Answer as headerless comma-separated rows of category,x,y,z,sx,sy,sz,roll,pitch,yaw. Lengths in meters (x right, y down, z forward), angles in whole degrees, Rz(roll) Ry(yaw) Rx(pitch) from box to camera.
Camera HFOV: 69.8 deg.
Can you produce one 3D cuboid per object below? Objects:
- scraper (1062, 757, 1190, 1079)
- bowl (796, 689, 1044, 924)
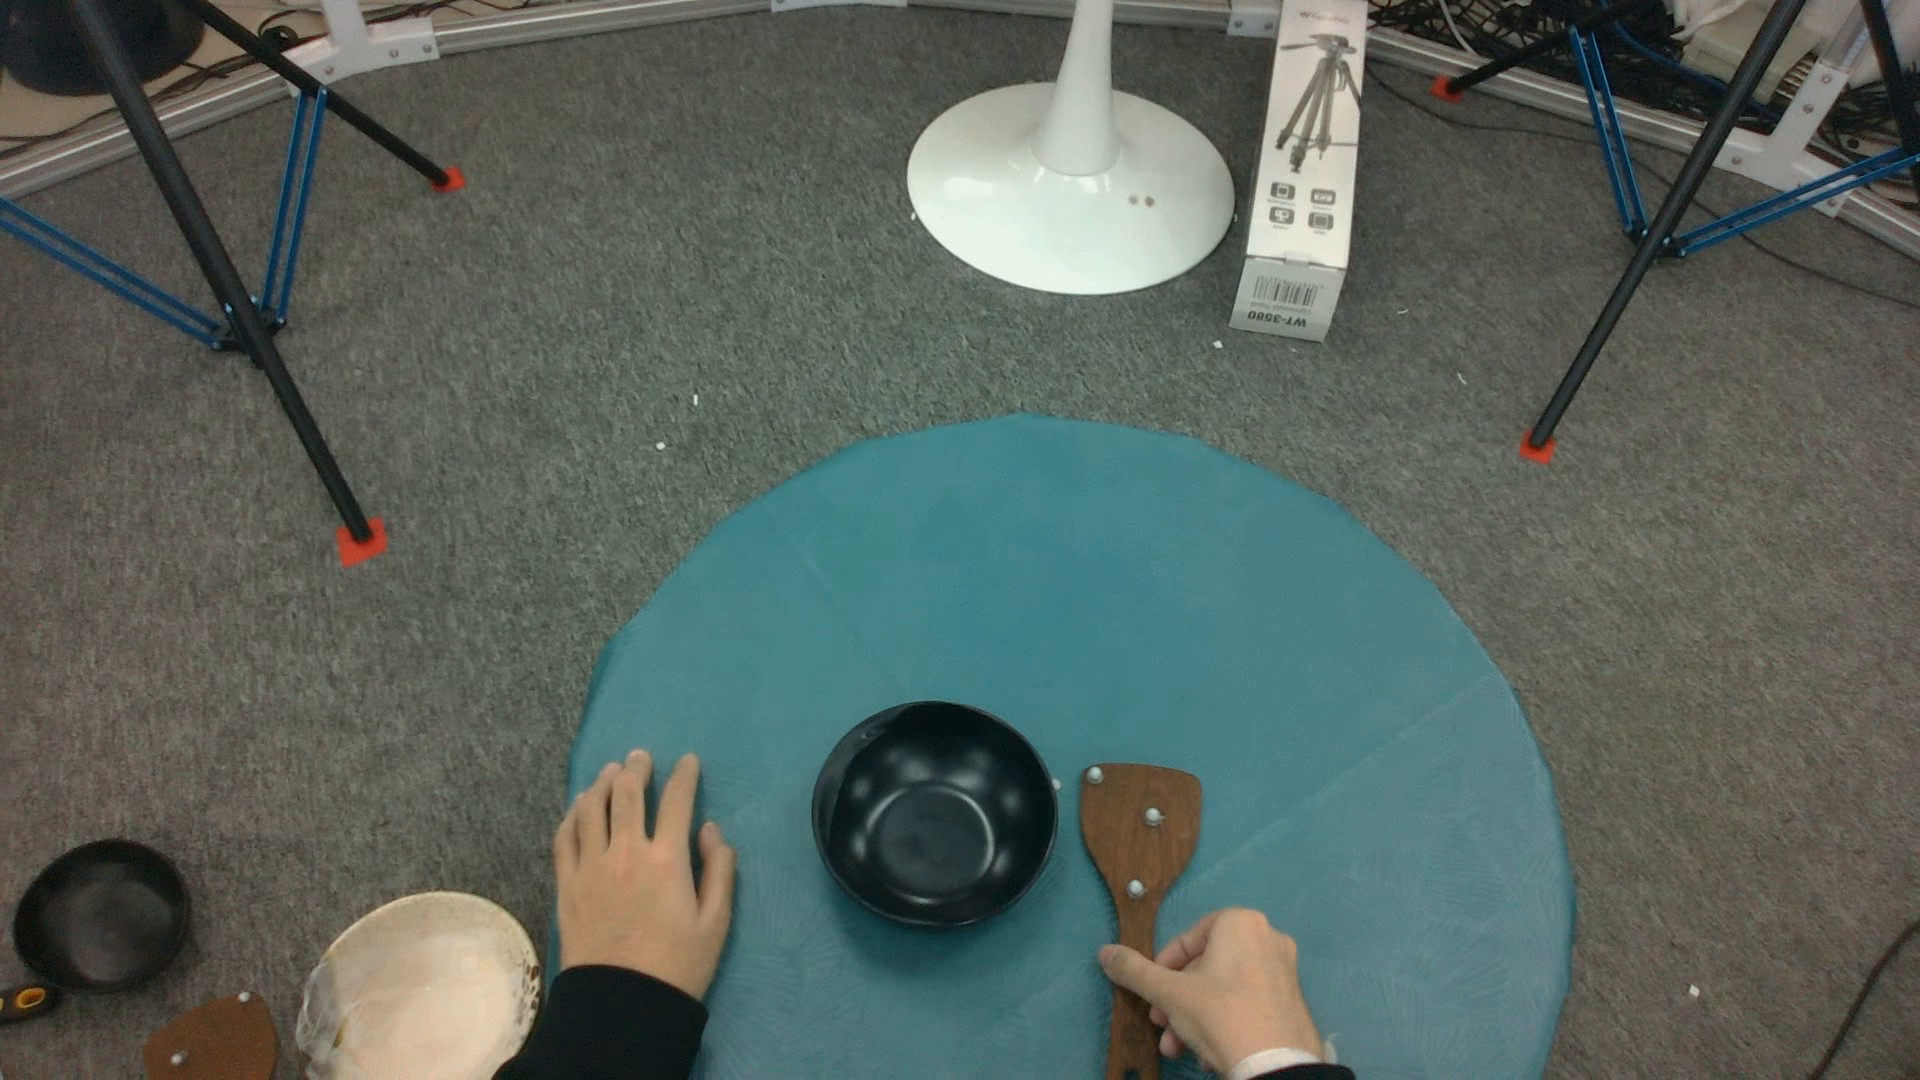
scraper,0.090,0.214,0.770,0.076,0.011,0.212,7,48,2
bowl,-0.024,0.157,0.785,0.140,0.049,0.140,4,54,-5
